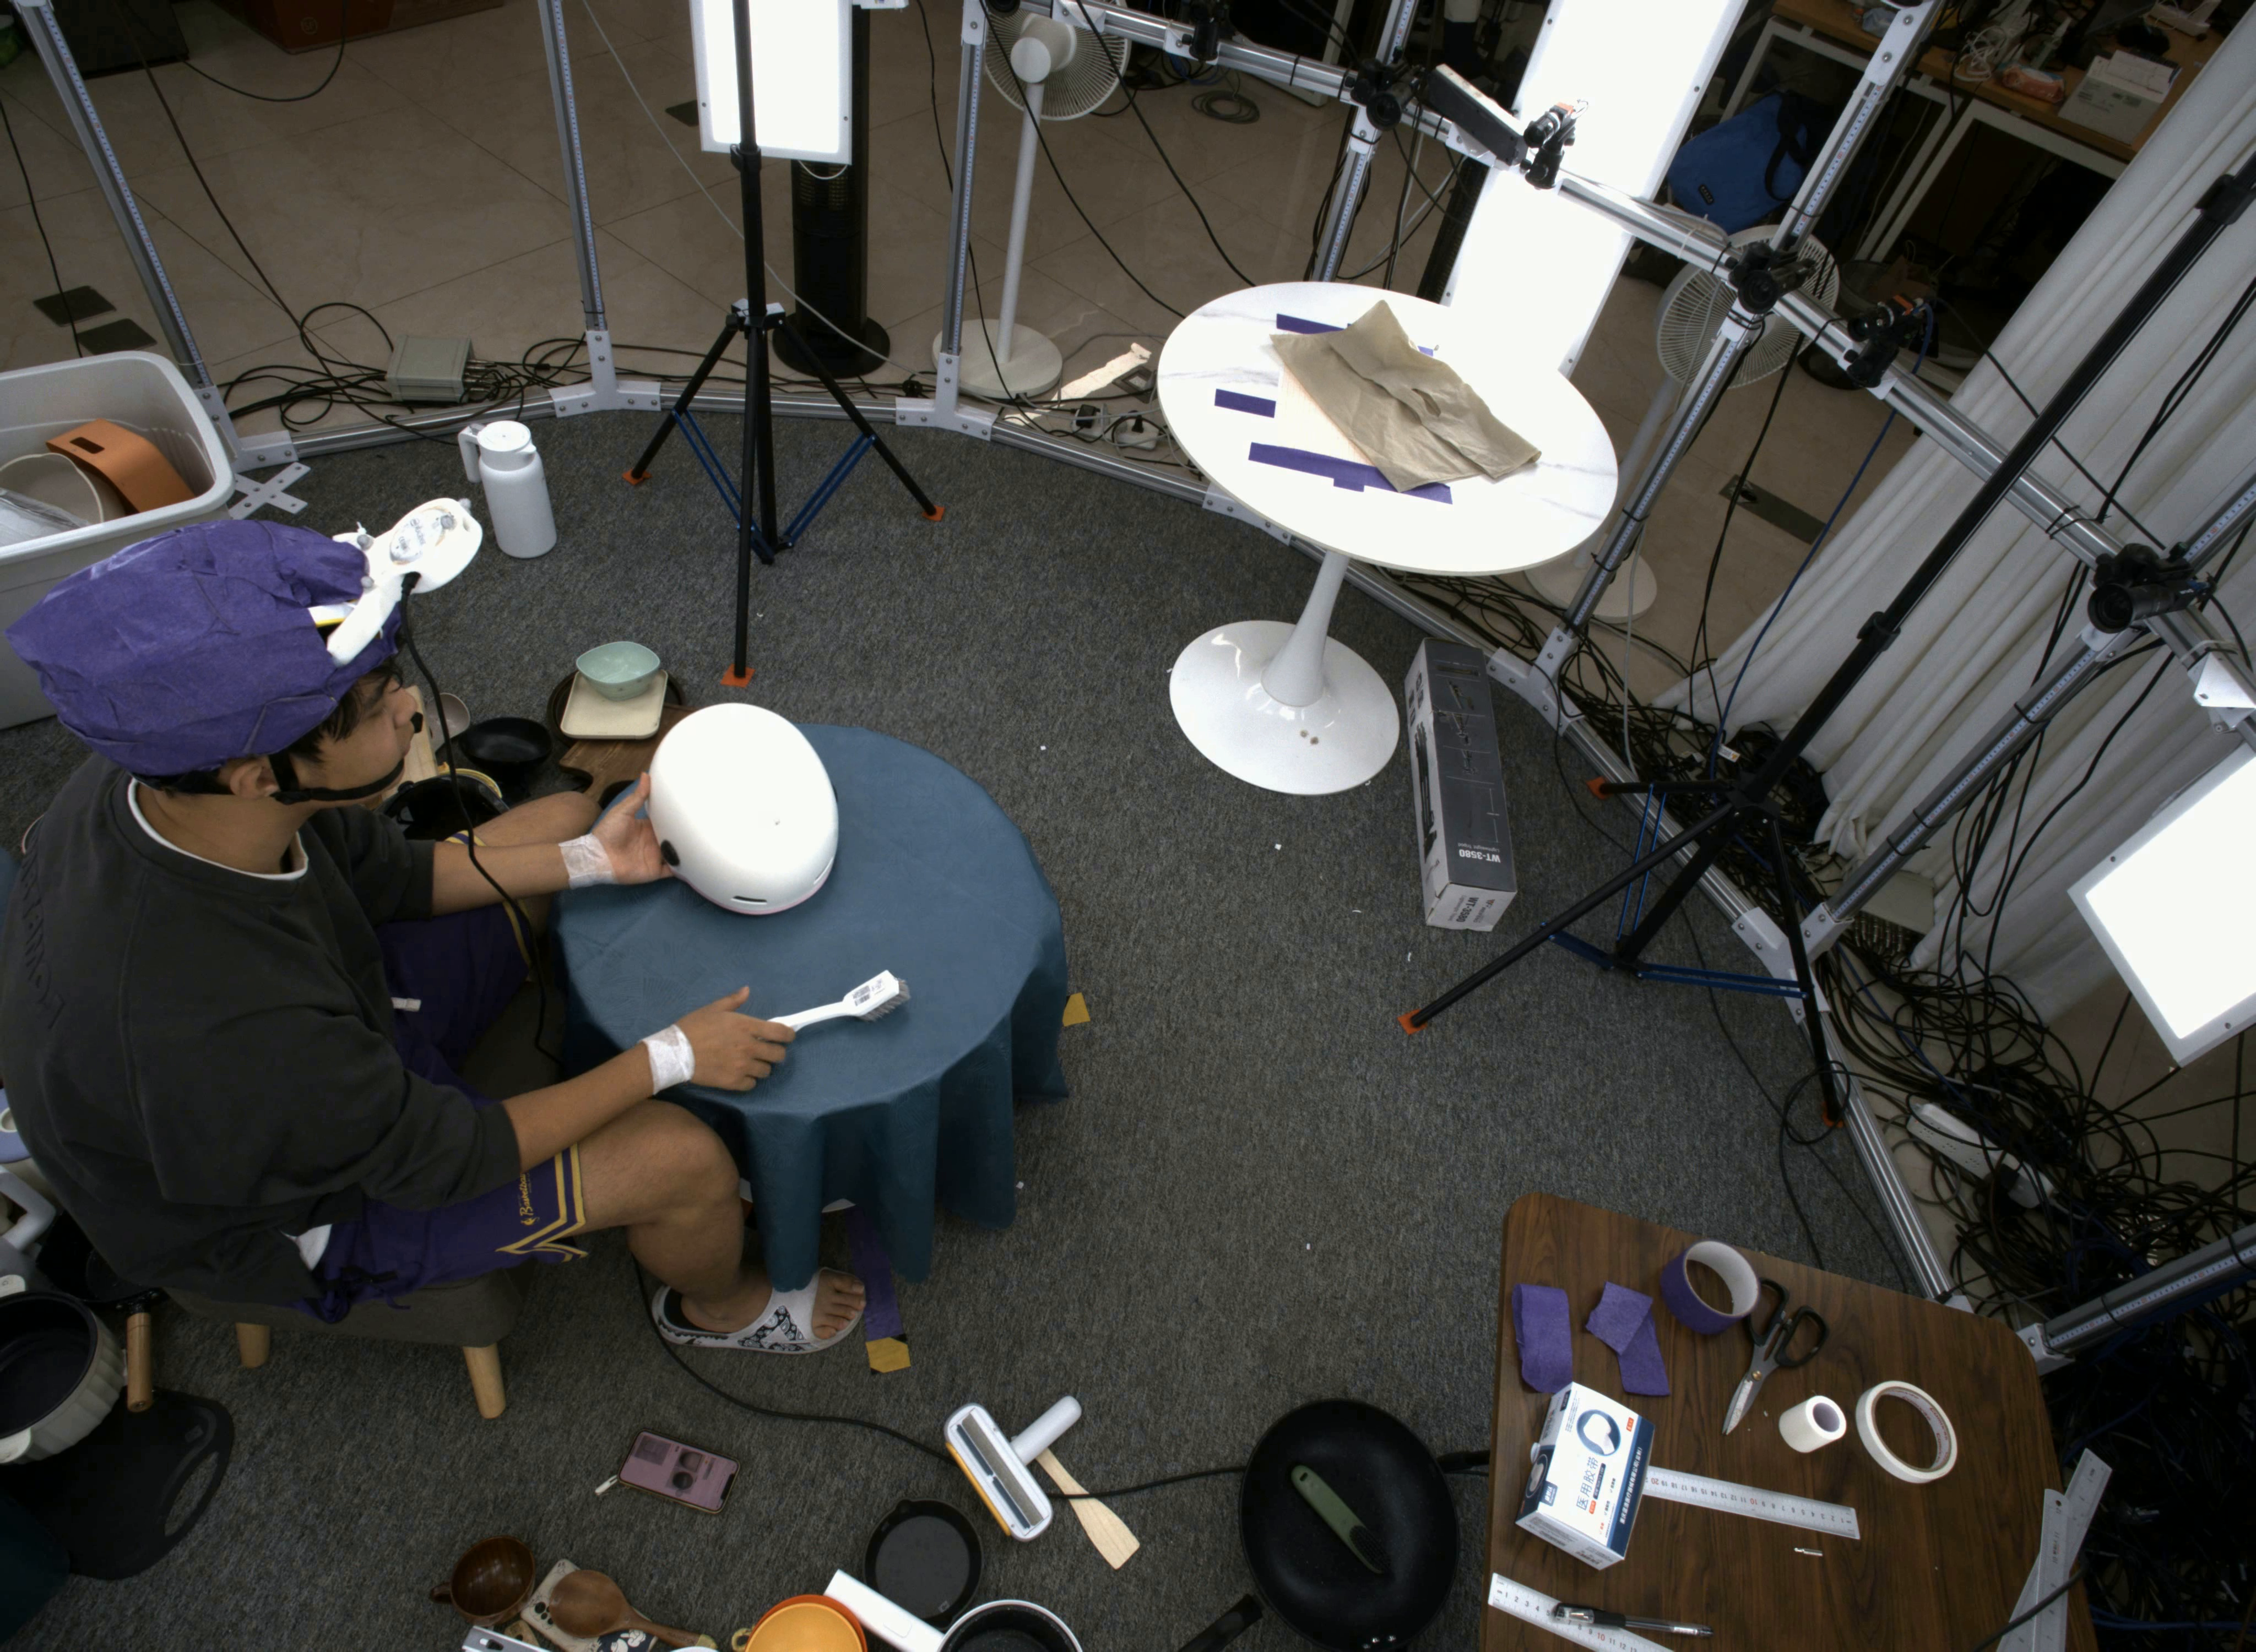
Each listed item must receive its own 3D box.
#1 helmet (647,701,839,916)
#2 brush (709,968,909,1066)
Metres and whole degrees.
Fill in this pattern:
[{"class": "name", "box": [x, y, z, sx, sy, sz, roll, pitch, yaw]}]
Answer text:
[{"class": "helmet", "box": [-0.483, -0.043, 1.631, 0.238, 0.169, 0.263, -24, 65, -33]}, {"class": "brush", "box": [-0.379, 0.235, 1.550, 0.243, 0.052, 0.033, -24, 55, -14]}]
